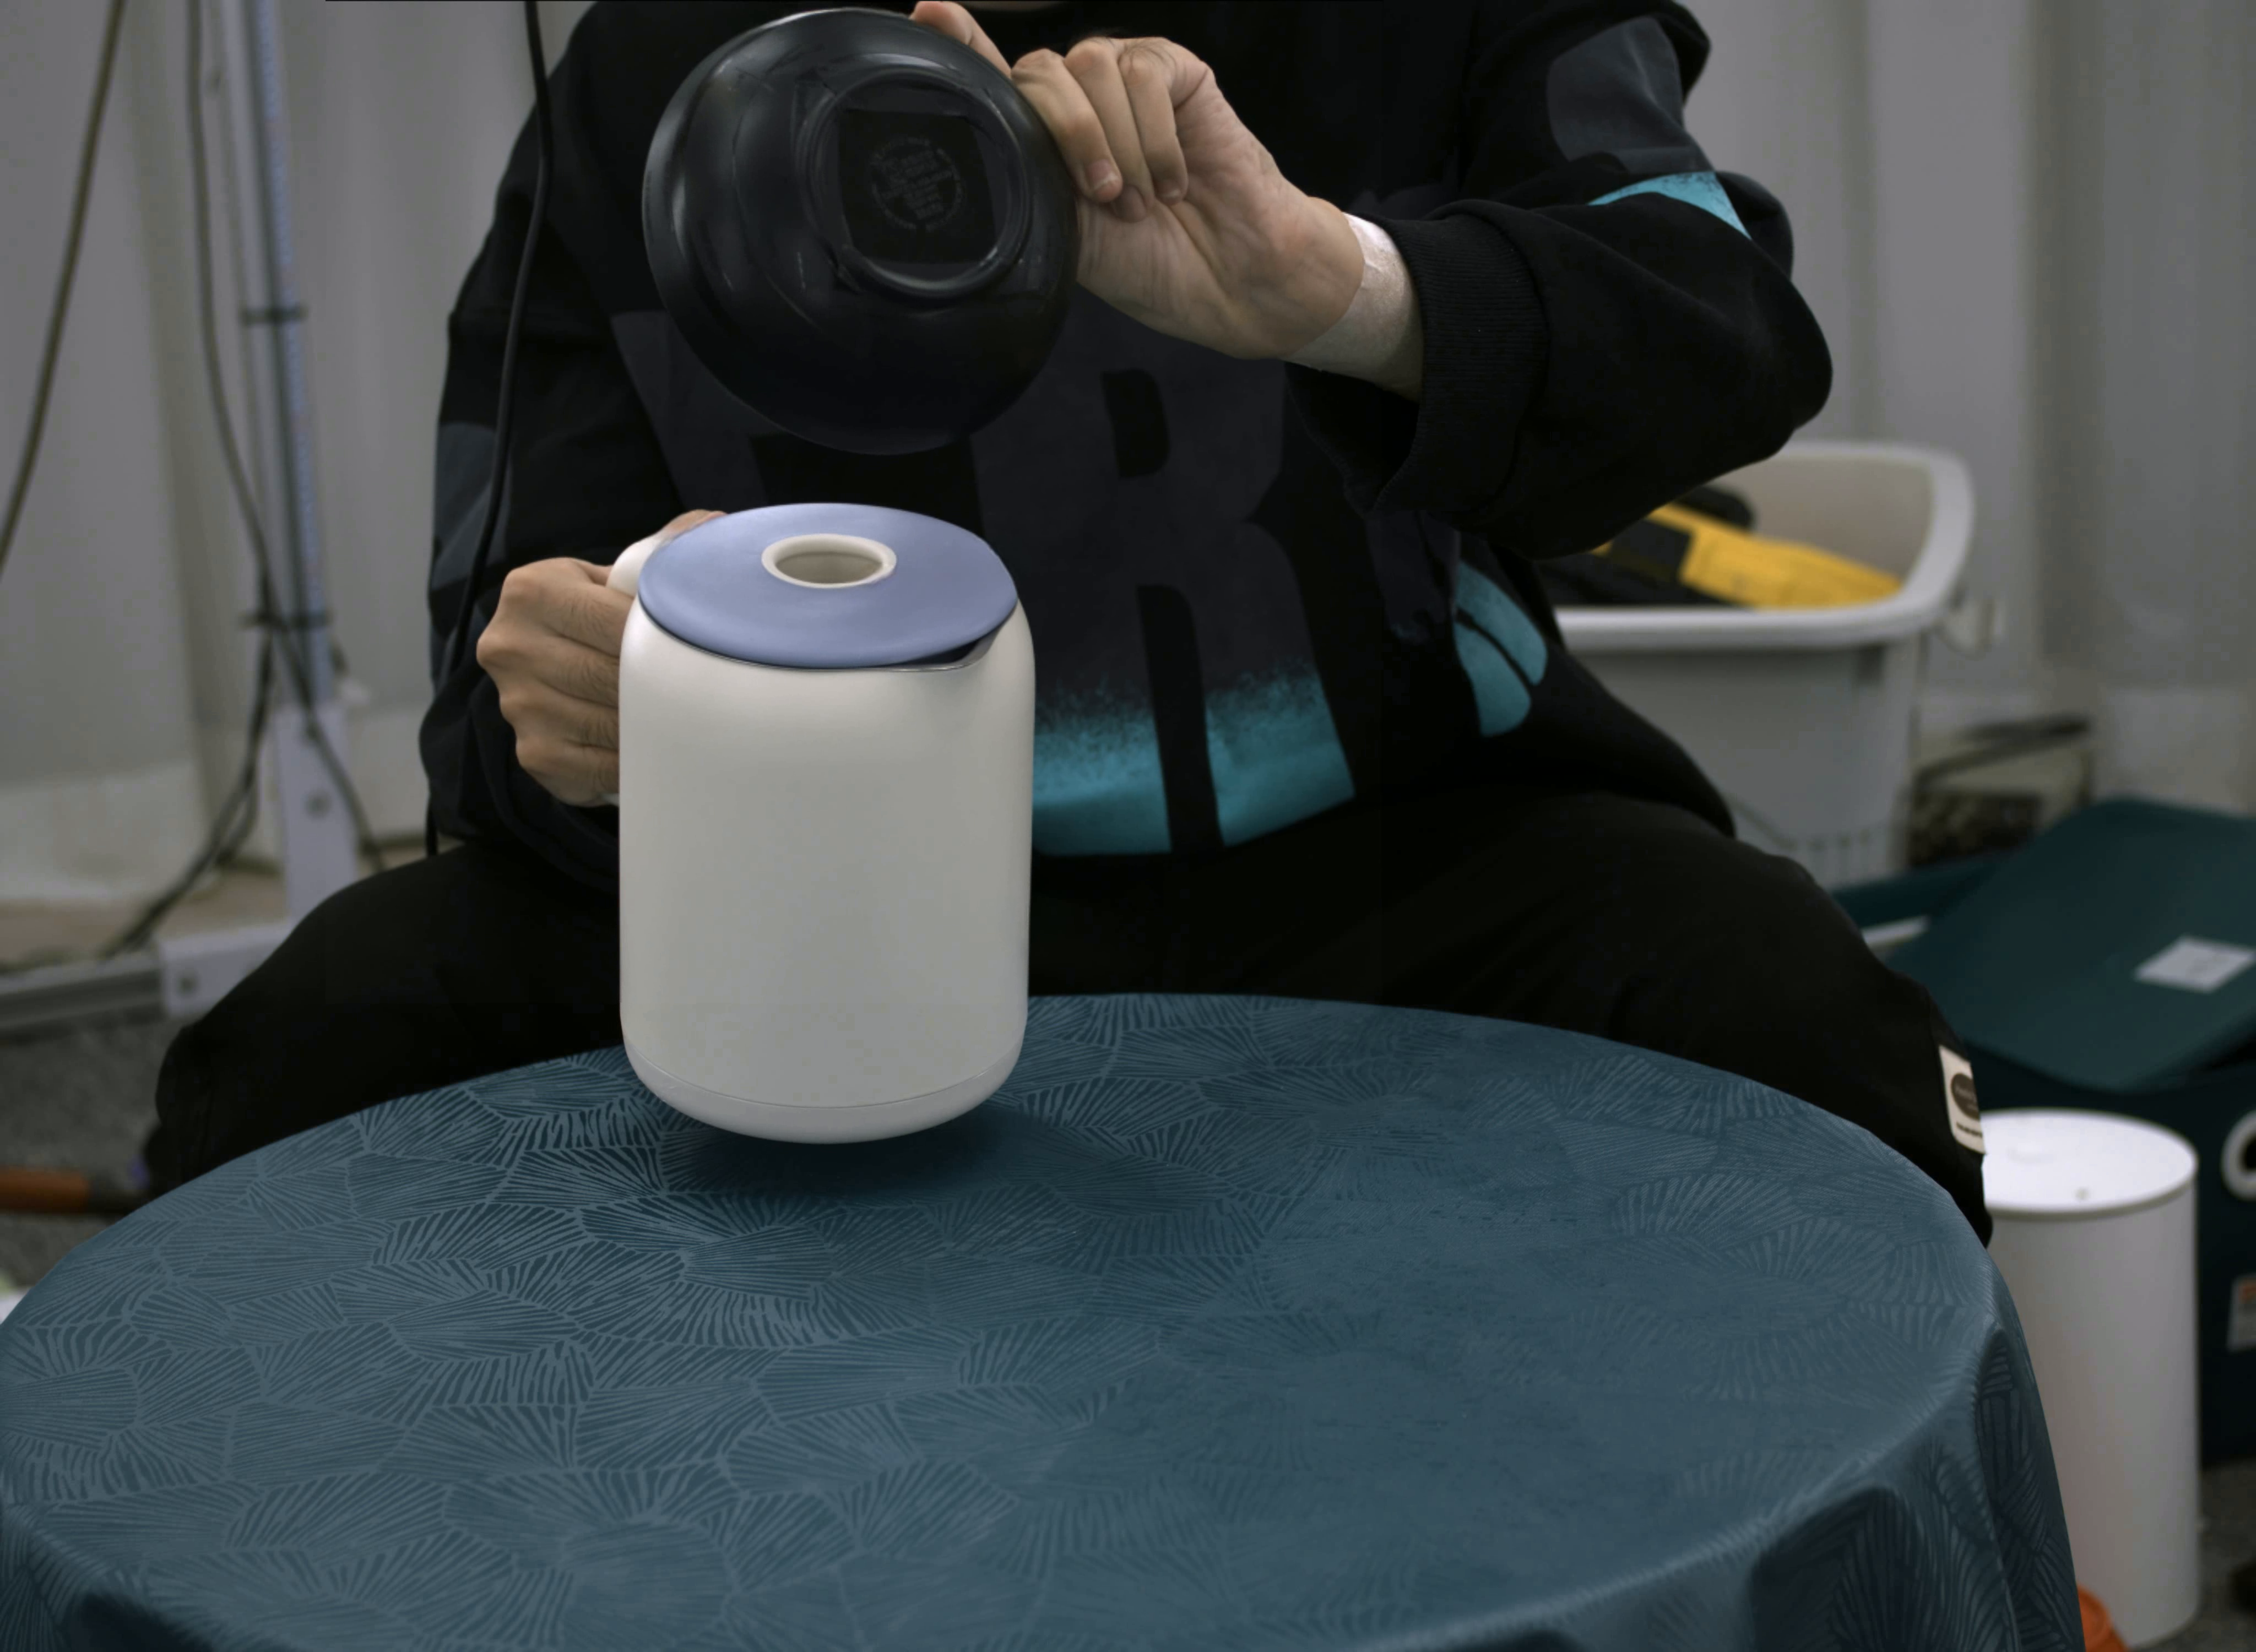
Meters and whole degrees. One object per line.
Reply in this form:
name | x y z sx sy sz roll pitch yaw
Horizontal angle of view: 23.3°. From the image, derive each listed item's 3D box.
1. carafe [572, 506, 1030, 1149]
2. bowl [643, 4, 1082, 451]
carafe | -0.114 -0.008 1.749 0.132 0.181 0.192 -18 28 -39
bowl | -0.071 -0.185 1.628 0.139 0.141 0.049 -10 -11 -26
